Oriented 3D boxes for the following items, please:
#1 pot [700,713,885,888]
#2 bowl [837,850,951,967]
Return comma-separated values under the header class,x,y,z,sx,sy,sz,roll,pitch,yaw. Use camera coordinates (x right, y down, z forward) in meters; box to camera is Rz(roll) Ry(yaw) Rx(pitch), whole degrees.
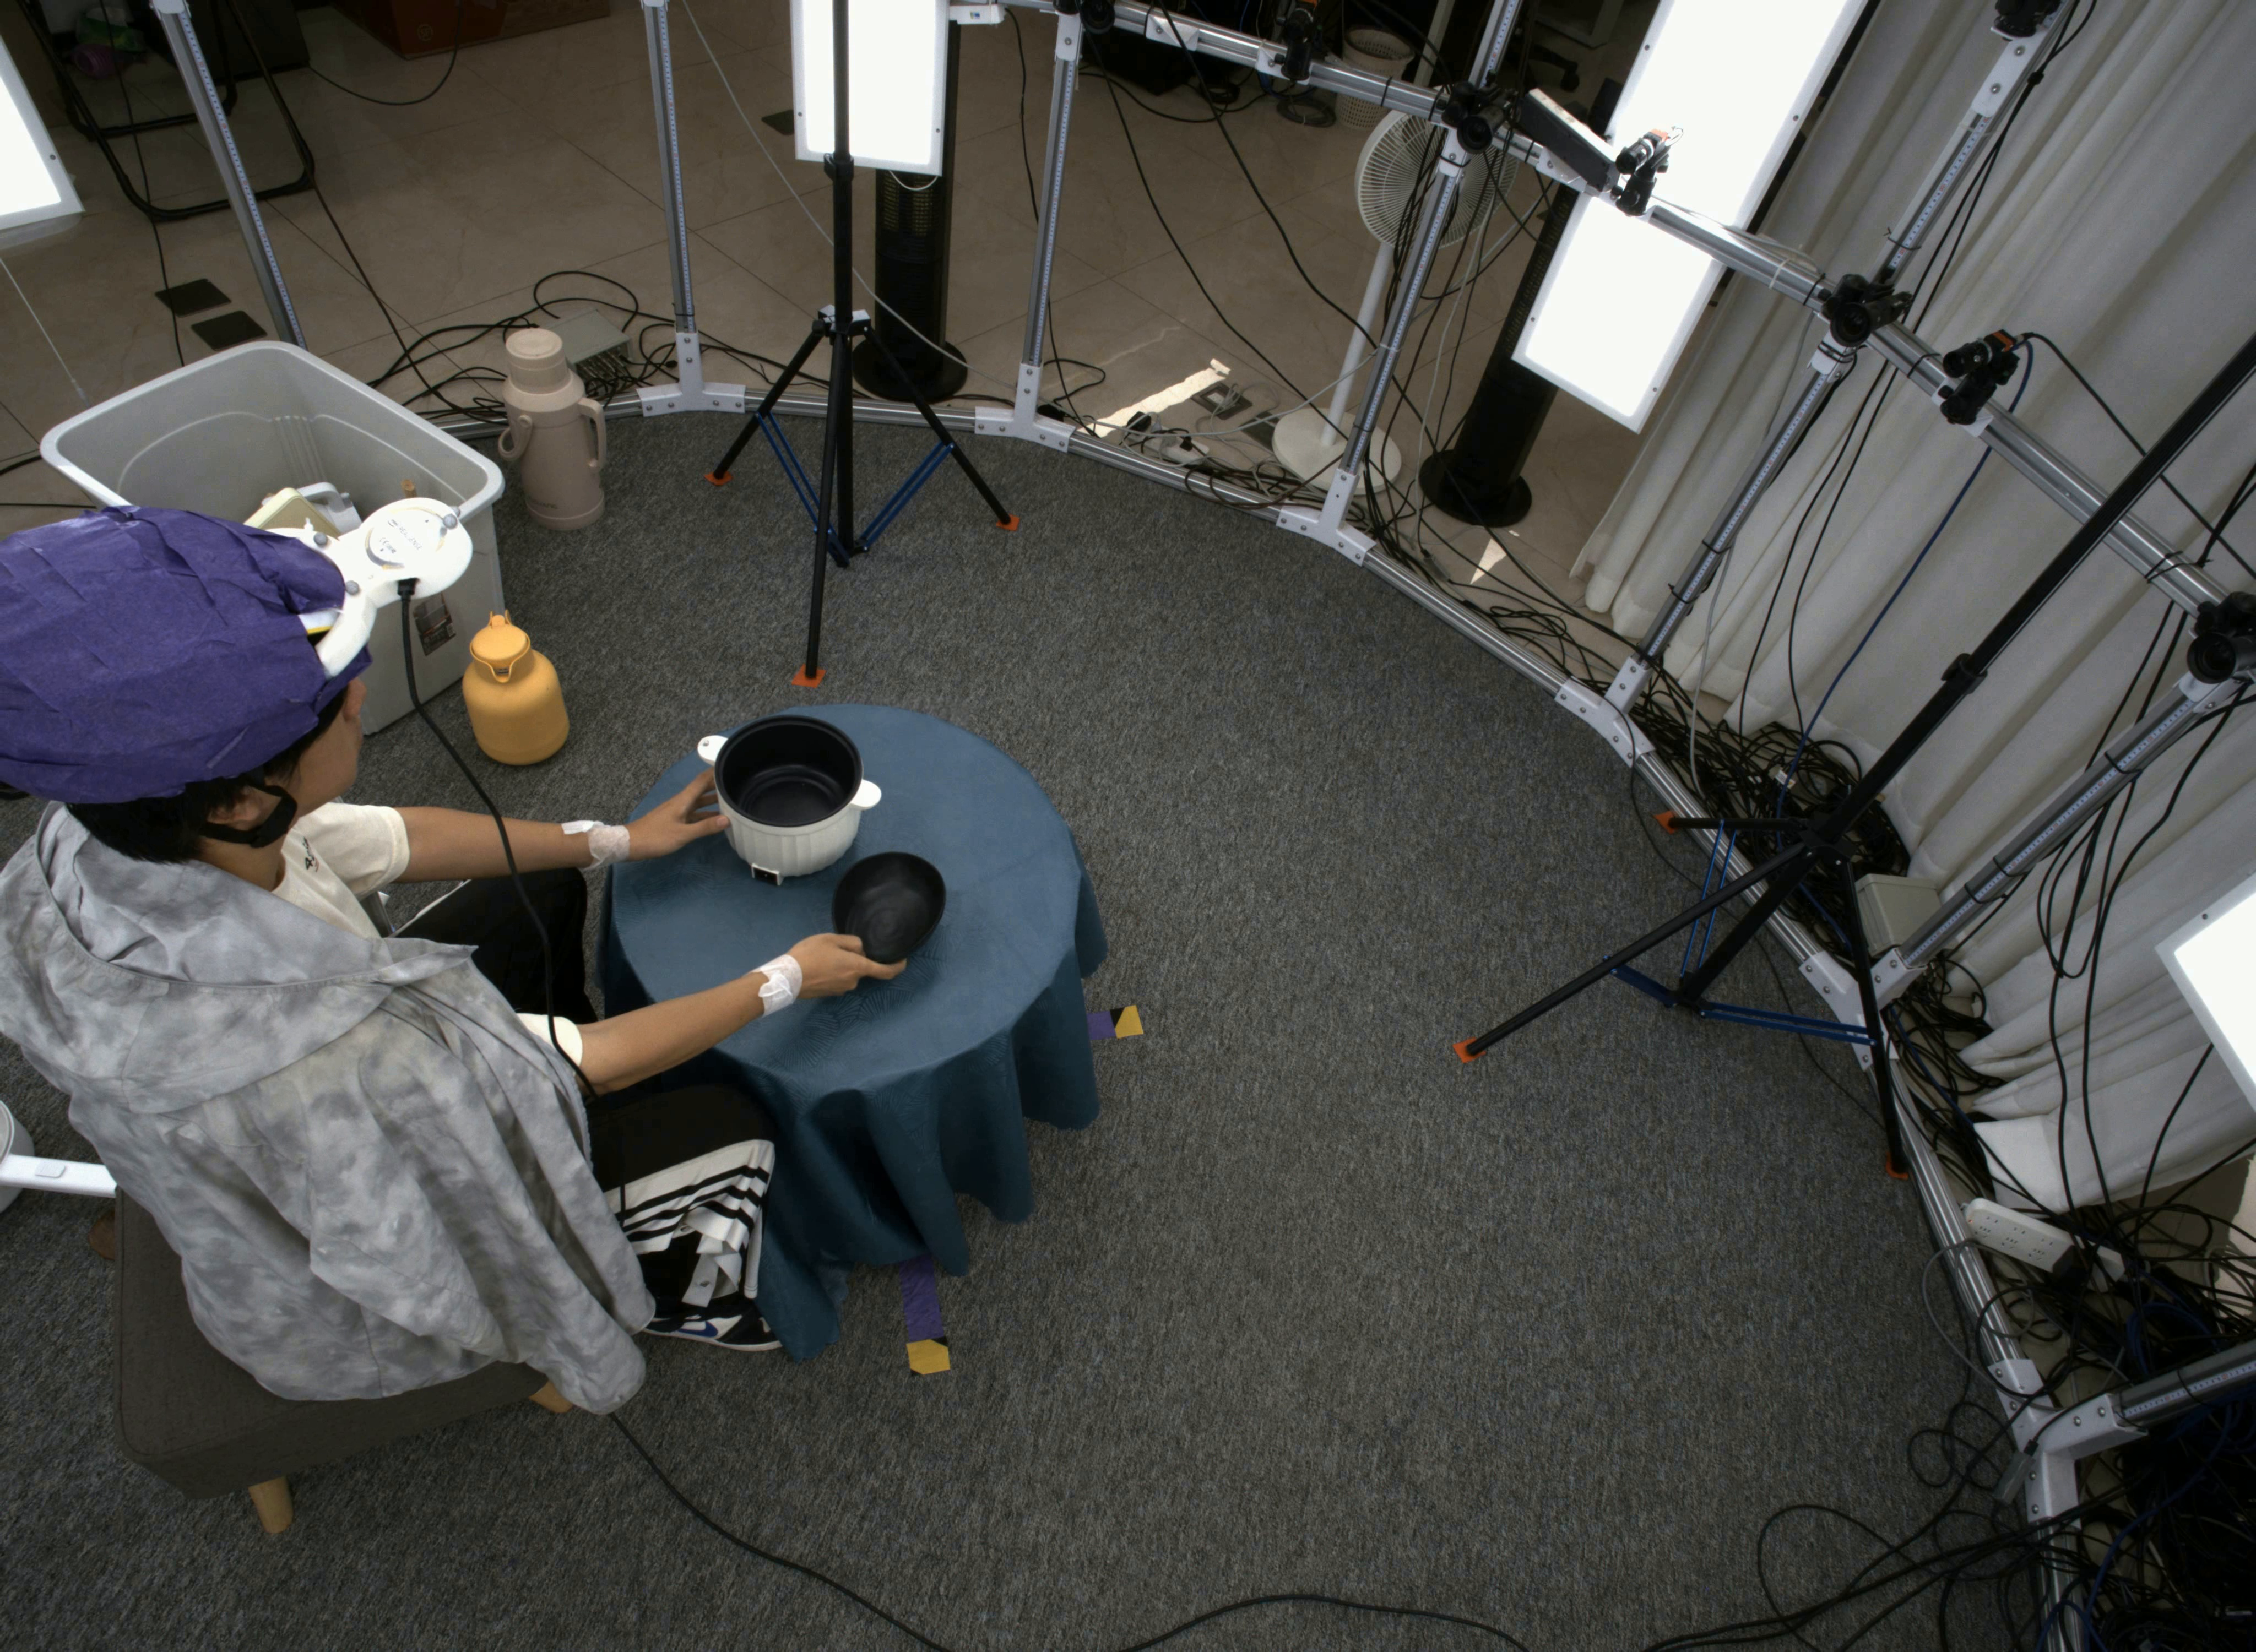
class,x,y,z,sx,sy,sz,roll,pitch,yaw
pot,-0.426,-0.036,1.663,0.238,0.145,0.188,17,55,-1
bowl,-0.291,0.111,1.622,0.136,0.068,0.168,12,51,1
